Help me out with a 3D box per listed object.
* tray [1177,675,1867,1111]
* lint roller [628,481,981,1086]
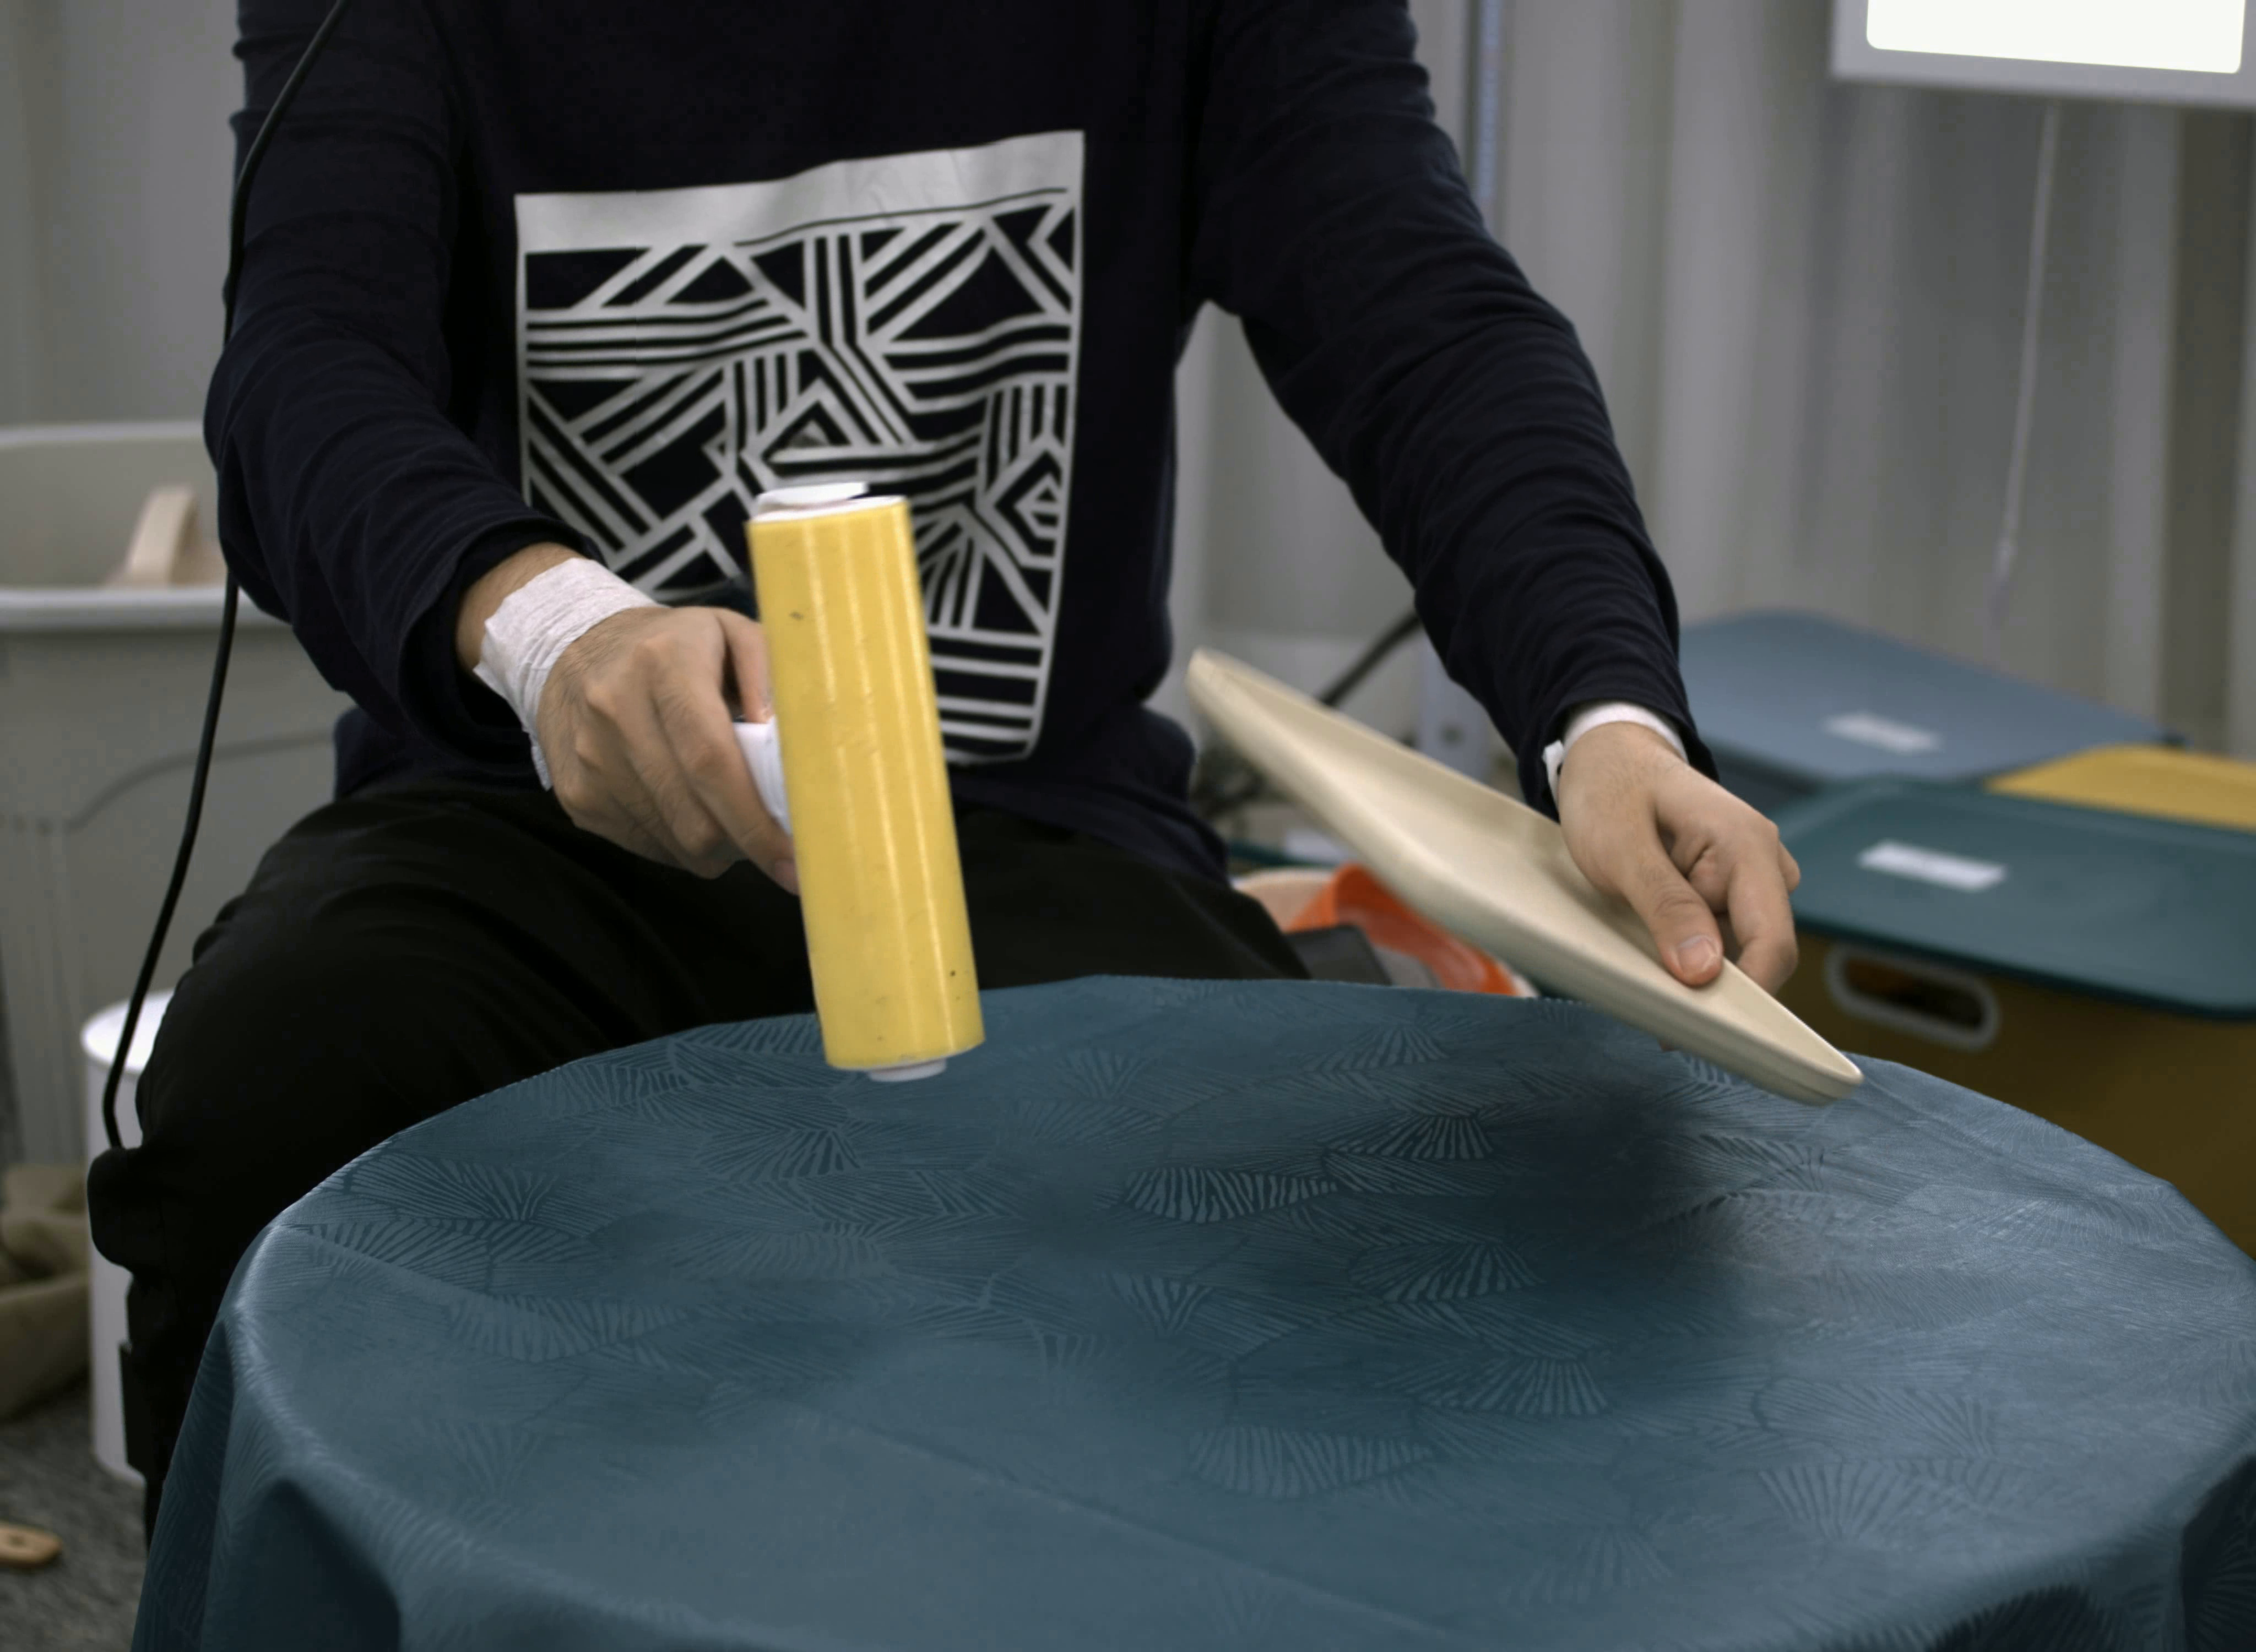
[{"bbox_3d":[0.115,0.020,1.607,0.173,0.017,0.237,23,10,-26],"label":"tray"},{"bbox_3d":[-0.116,-0.012,1.575,0.051,0.175,0.190,-13,7,-35],"label":"lint roller"}]
